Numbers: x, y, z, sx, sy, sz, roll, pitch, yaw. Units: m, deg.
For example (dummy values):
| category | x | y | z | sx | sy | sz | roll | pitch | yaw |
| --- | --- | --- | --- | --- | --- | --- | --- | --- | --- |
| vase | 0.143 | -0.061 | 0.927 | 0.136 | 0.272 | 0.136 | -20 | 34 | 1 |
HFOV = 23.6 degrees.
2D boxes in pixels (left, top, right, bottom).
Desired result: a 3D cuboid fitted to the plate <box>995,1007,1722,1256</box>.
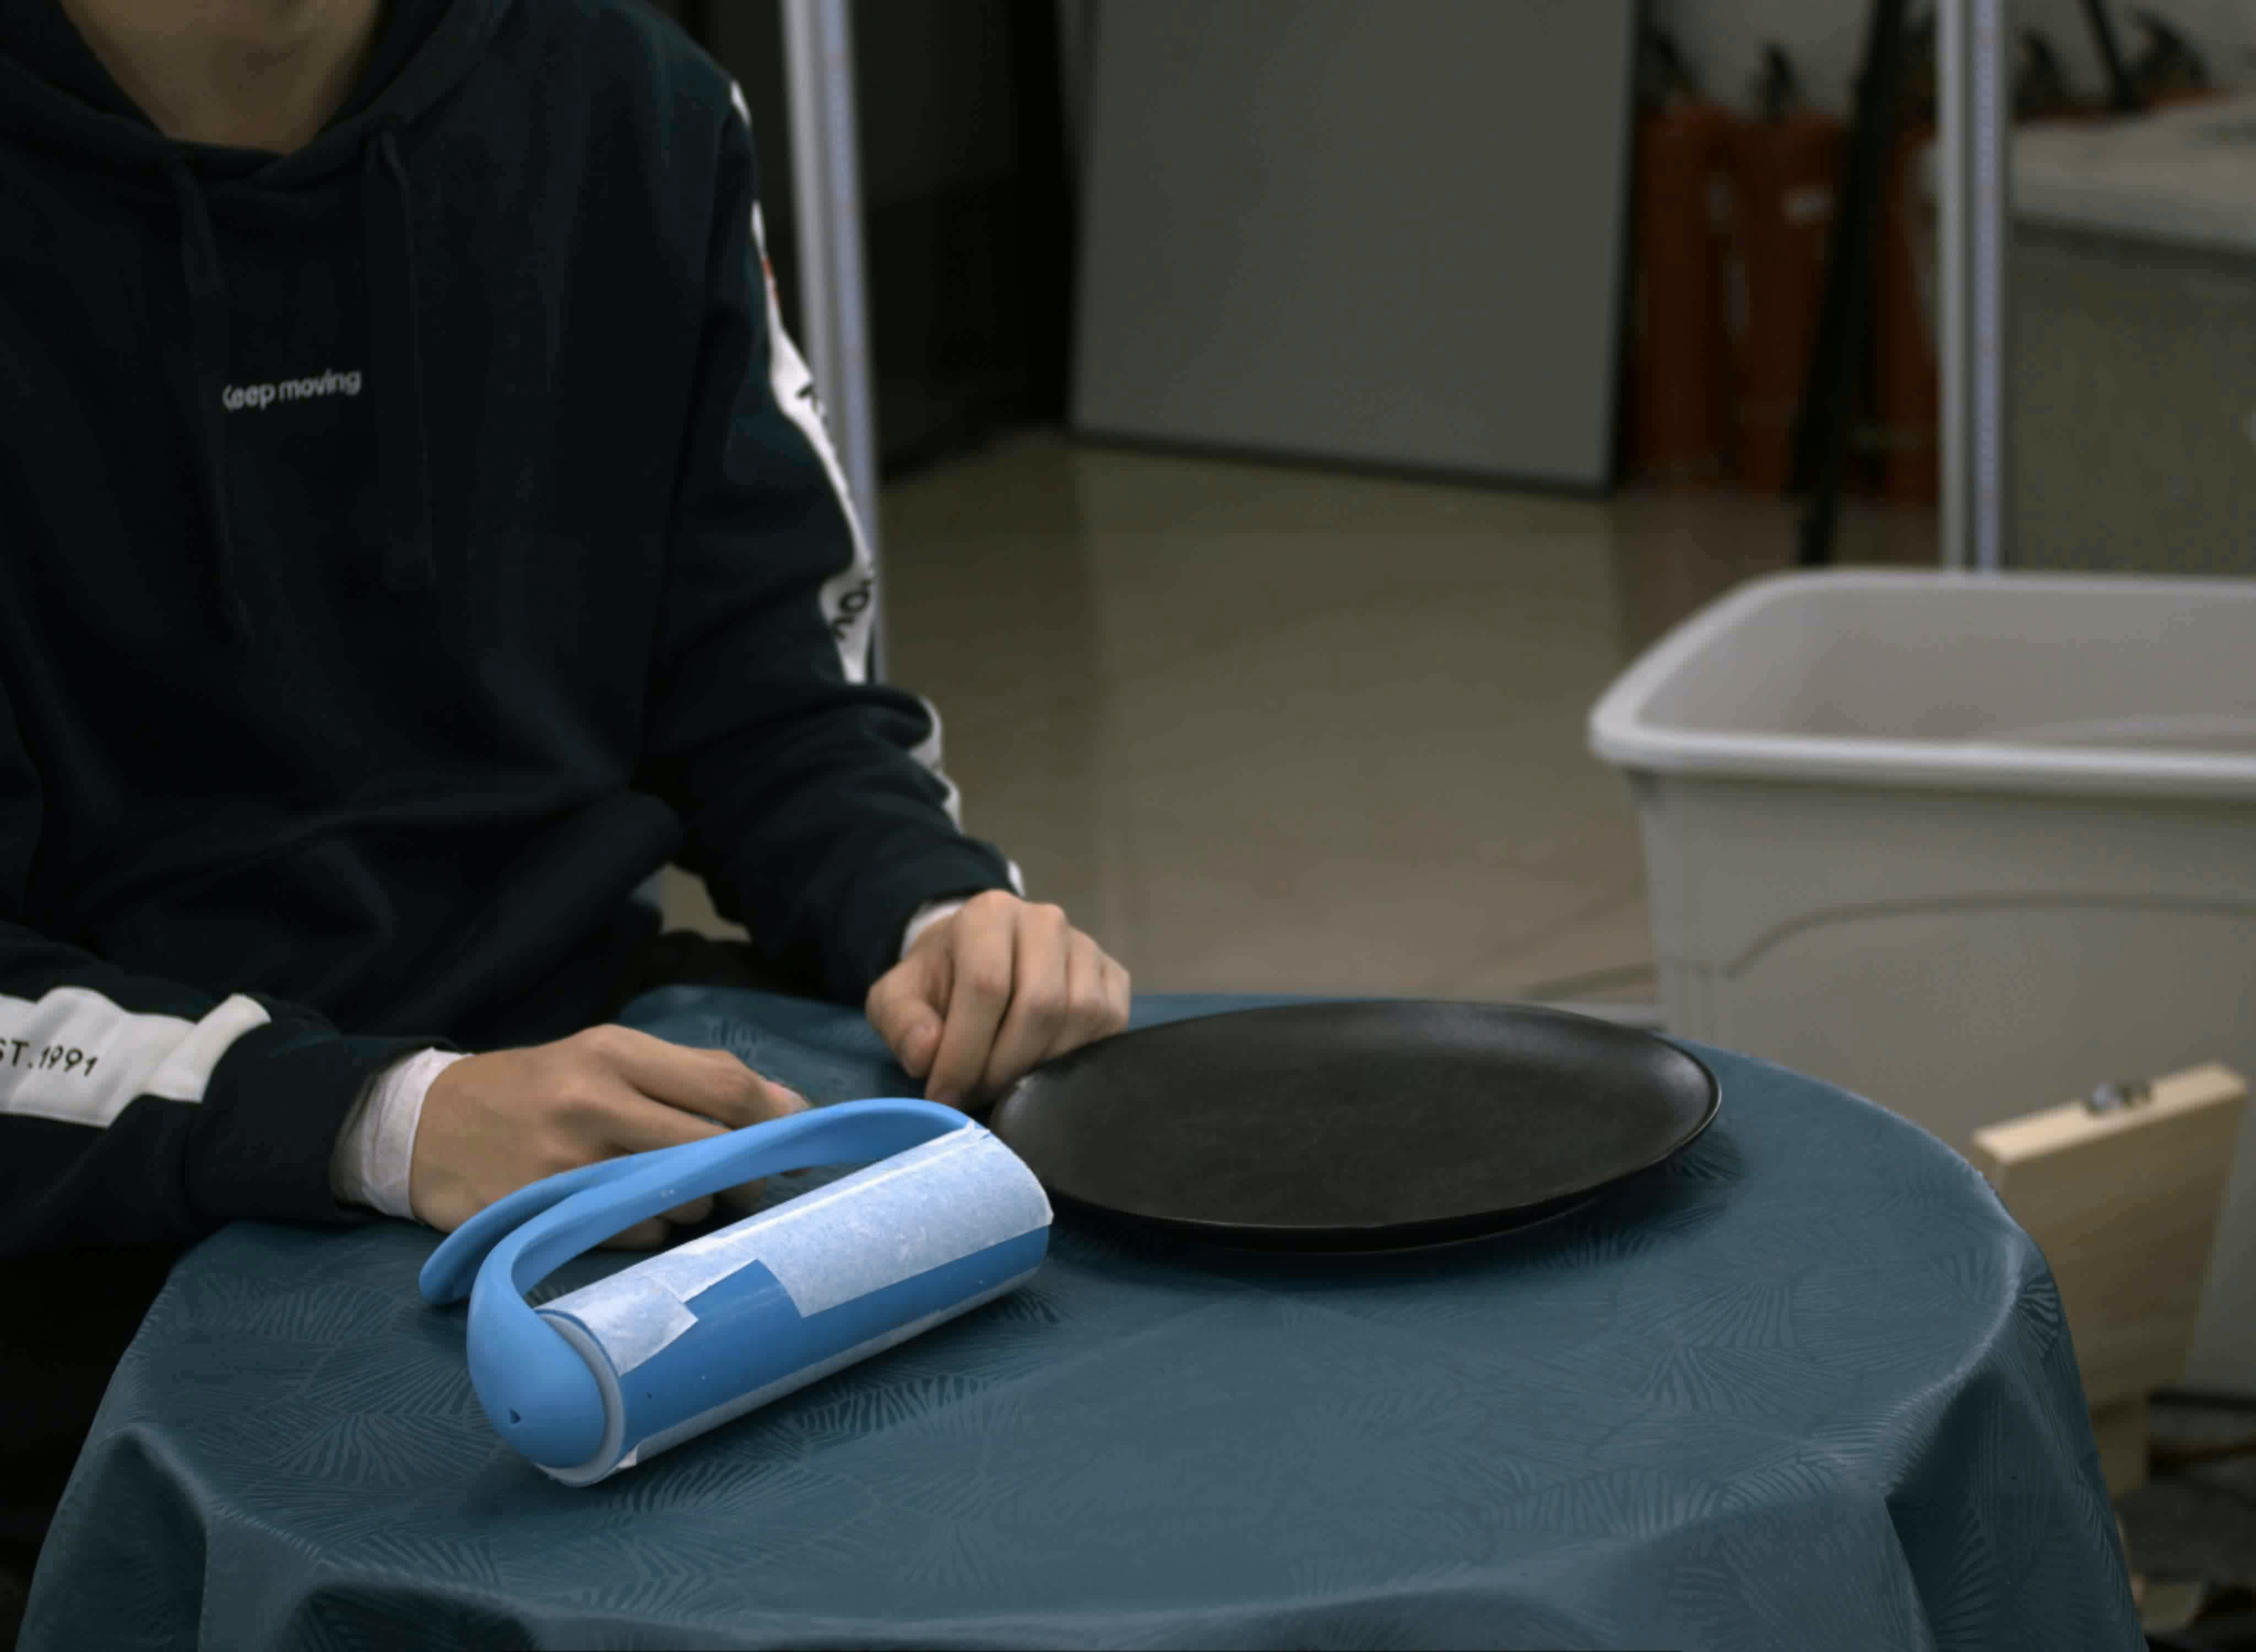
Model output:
| category | x | y | z | sx | sy | sz | roll | pitch | yaw |
| --- | --- | --- | --- | --- | --- | --- | --- | --- | --- |
| plate | 0.076 | 0.103 | 1.777 | 0.241 | 0.024 | 0.245 | -4 | 13 | 0 |

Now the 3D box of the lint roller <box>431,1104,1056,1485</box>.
| category | x | y | z | sx | sy | sz | roll | pitch | yaw |
| --- | --- | --- | --- | --- | --- | --- | --- | --- | --- |
| lint roller | -0.148 | 0.135 | 1.641 | 0.181 | 0.068 | 0.225 | 5 | 17 | 36 |
